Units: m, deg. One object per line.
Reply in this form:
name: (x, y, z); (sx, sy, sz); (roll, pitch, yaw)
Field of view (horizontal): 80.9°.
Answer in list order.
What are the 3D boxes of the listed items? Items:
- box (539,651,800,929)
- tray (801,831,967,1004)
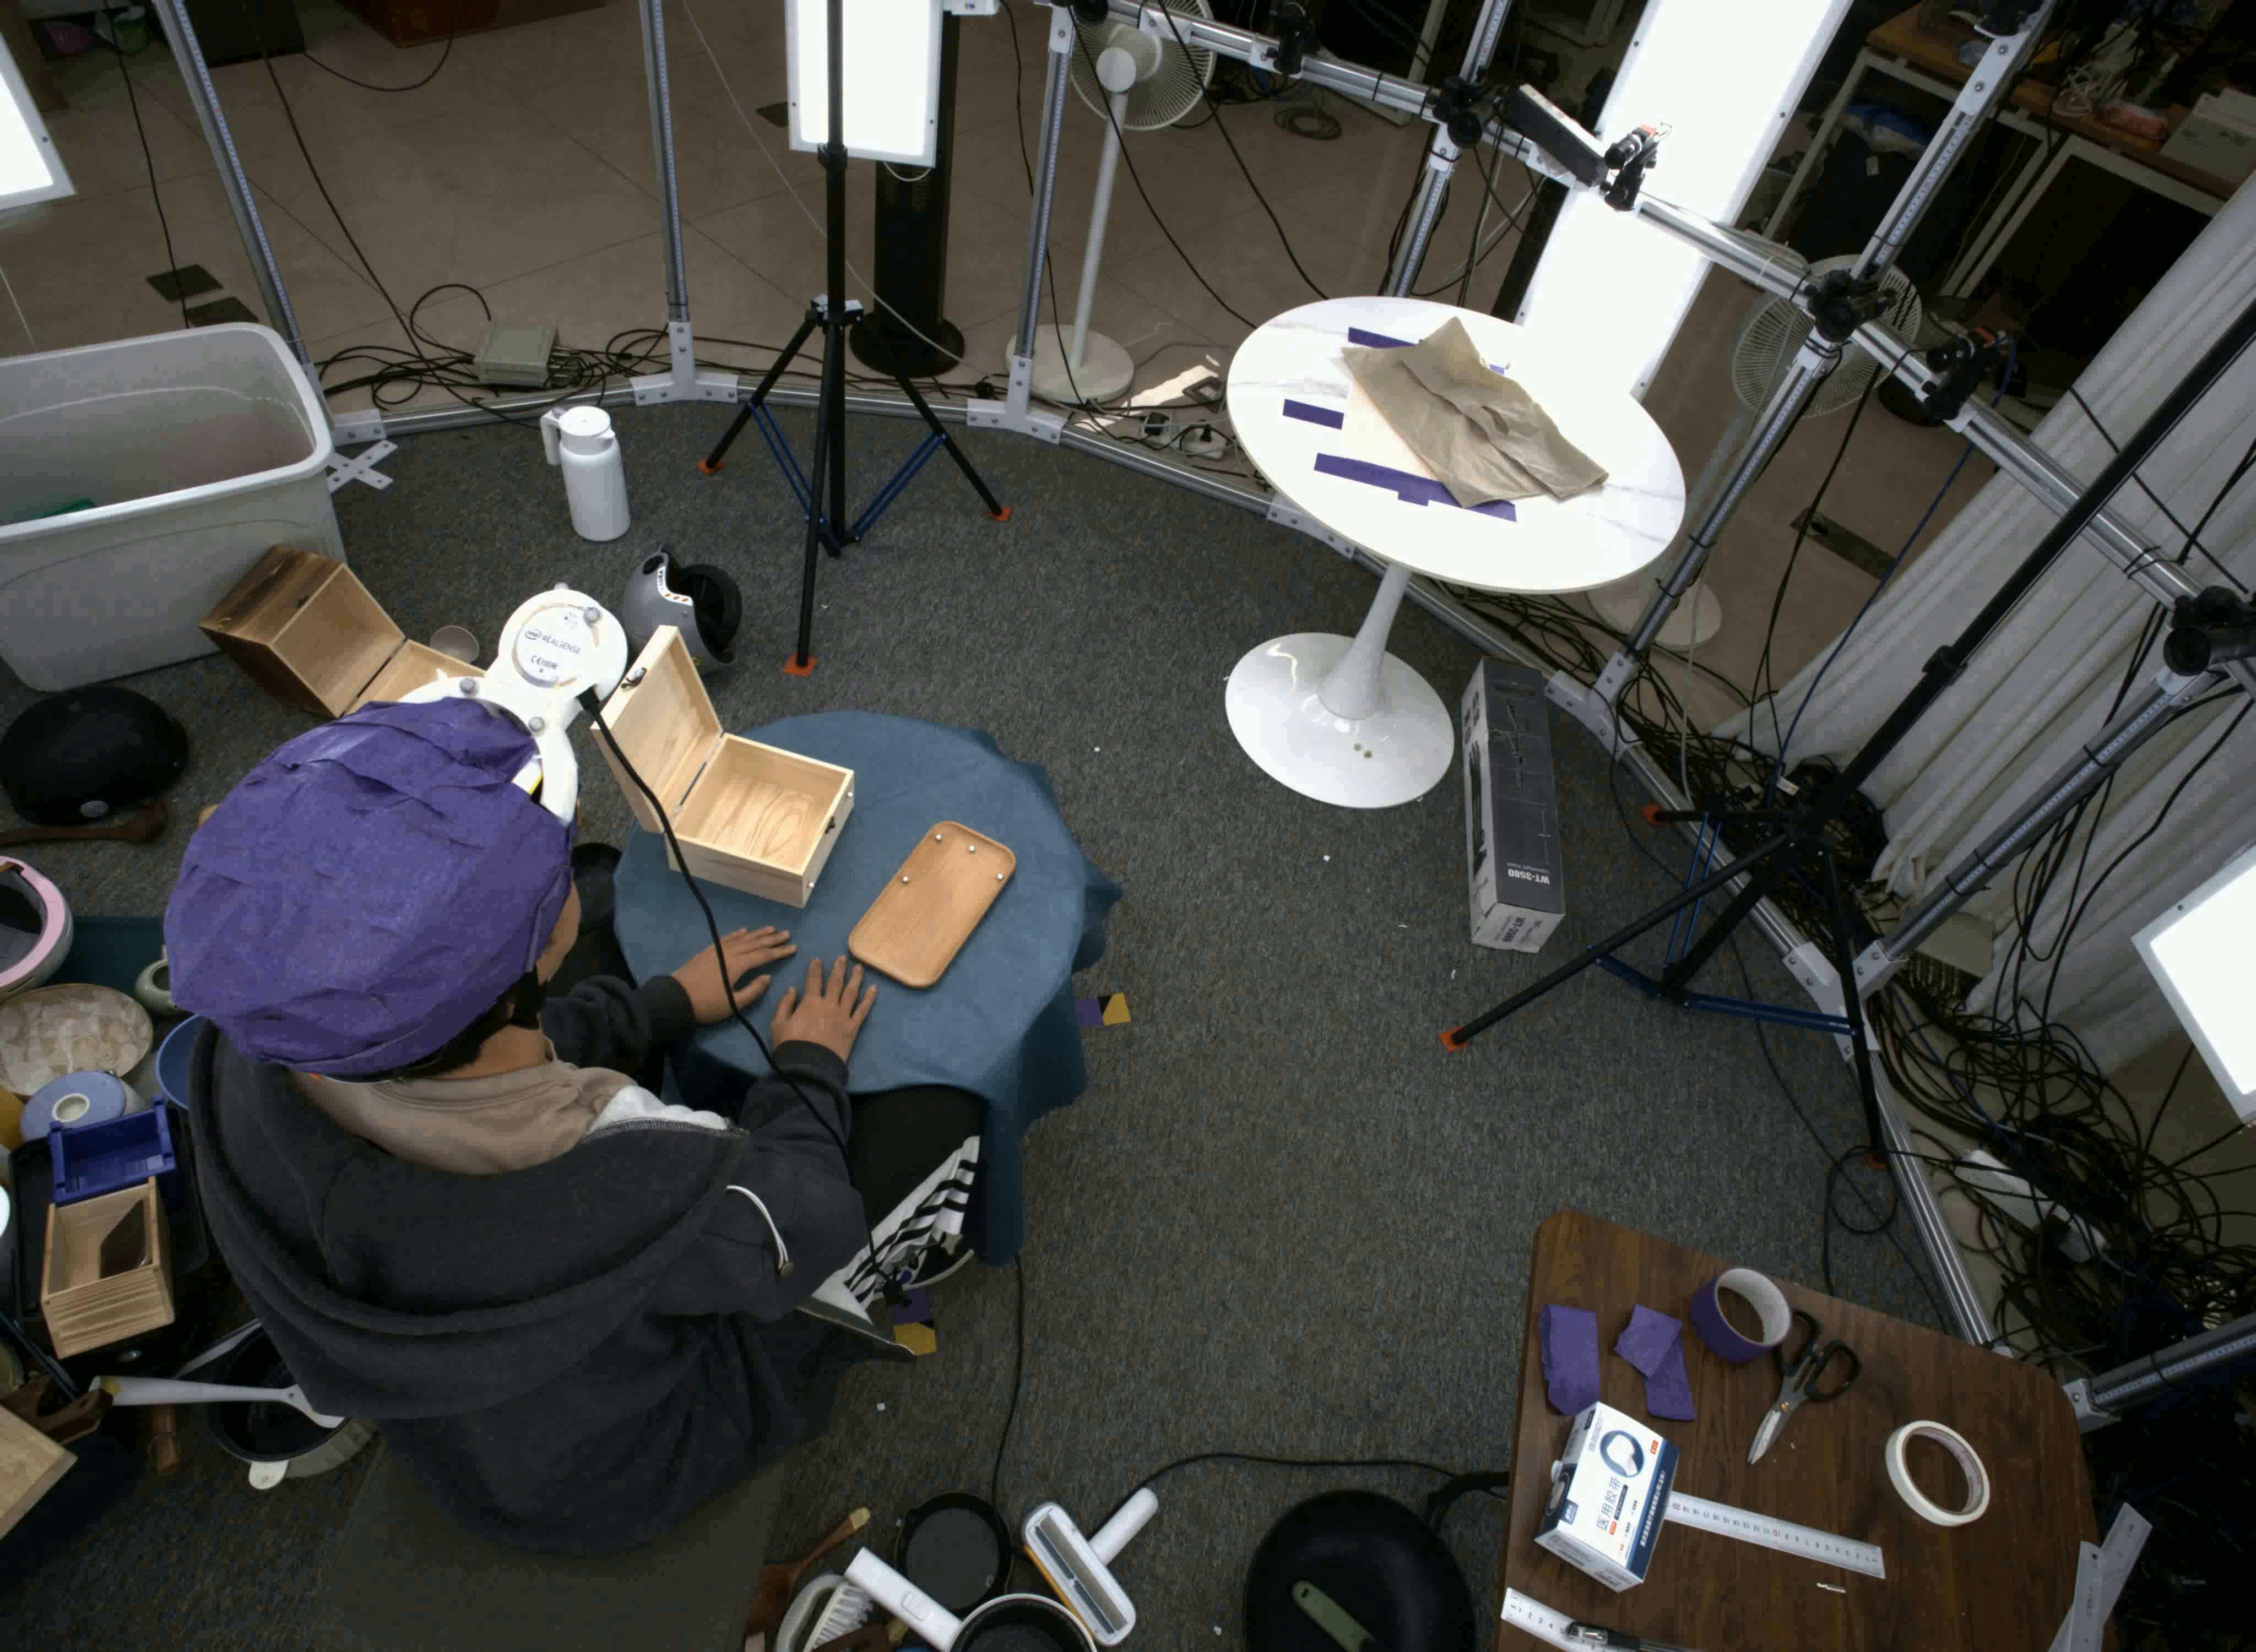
box: (-0.556, -0.044, 1.570); (0.263, 0.259, 0.179); (12, 54, -2)
tray: (-0.308, 0.112, 1.663); (0.128, 0.023, 0.249); (23, 52, 7)
